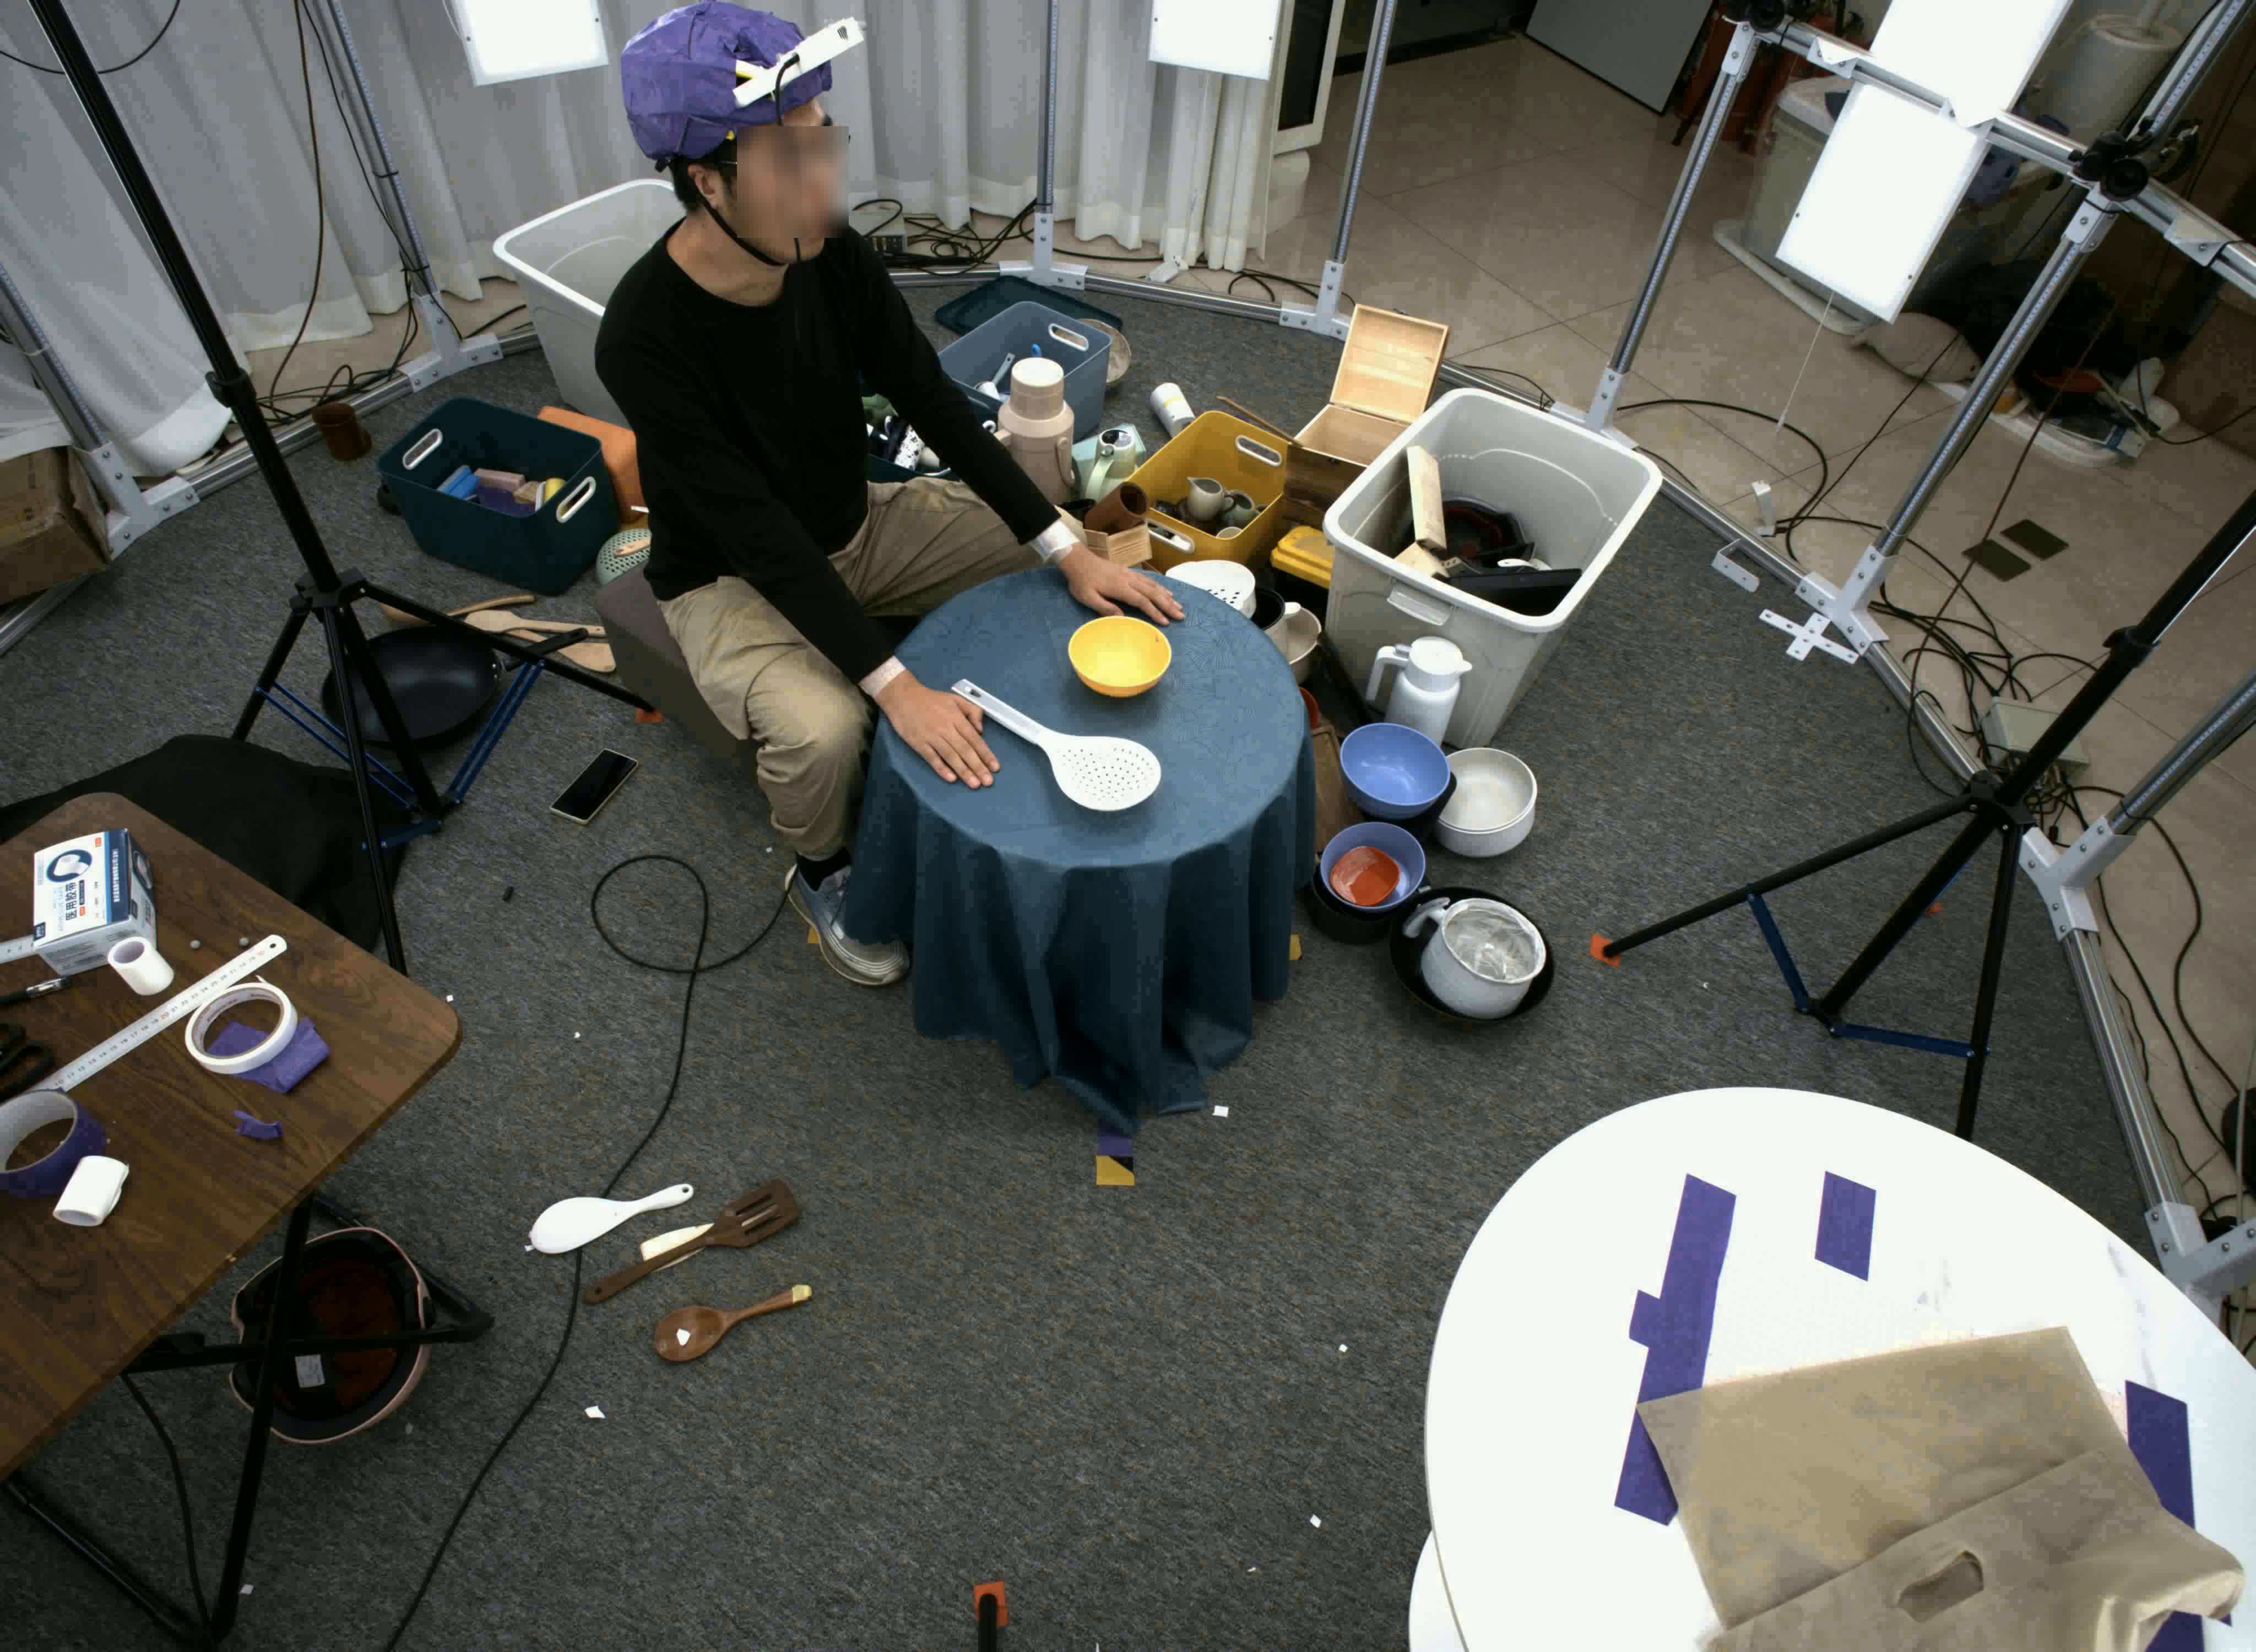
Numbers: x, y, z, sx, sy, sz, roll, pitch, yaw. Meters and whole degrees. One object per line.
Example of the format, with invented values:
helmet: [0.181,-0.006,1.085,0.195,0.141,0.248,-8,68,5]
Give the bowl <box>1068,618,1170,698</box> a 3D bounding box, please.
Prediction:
bowl: [-0.015,-0.228,1.831,0.145,0.058,0.149,3,48,-4]

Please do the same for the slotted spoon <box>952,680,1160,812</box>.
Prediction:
slotted spoon: [-0.109,-0.115,1.733,0.354,0.044,0.137,34,55,24]
